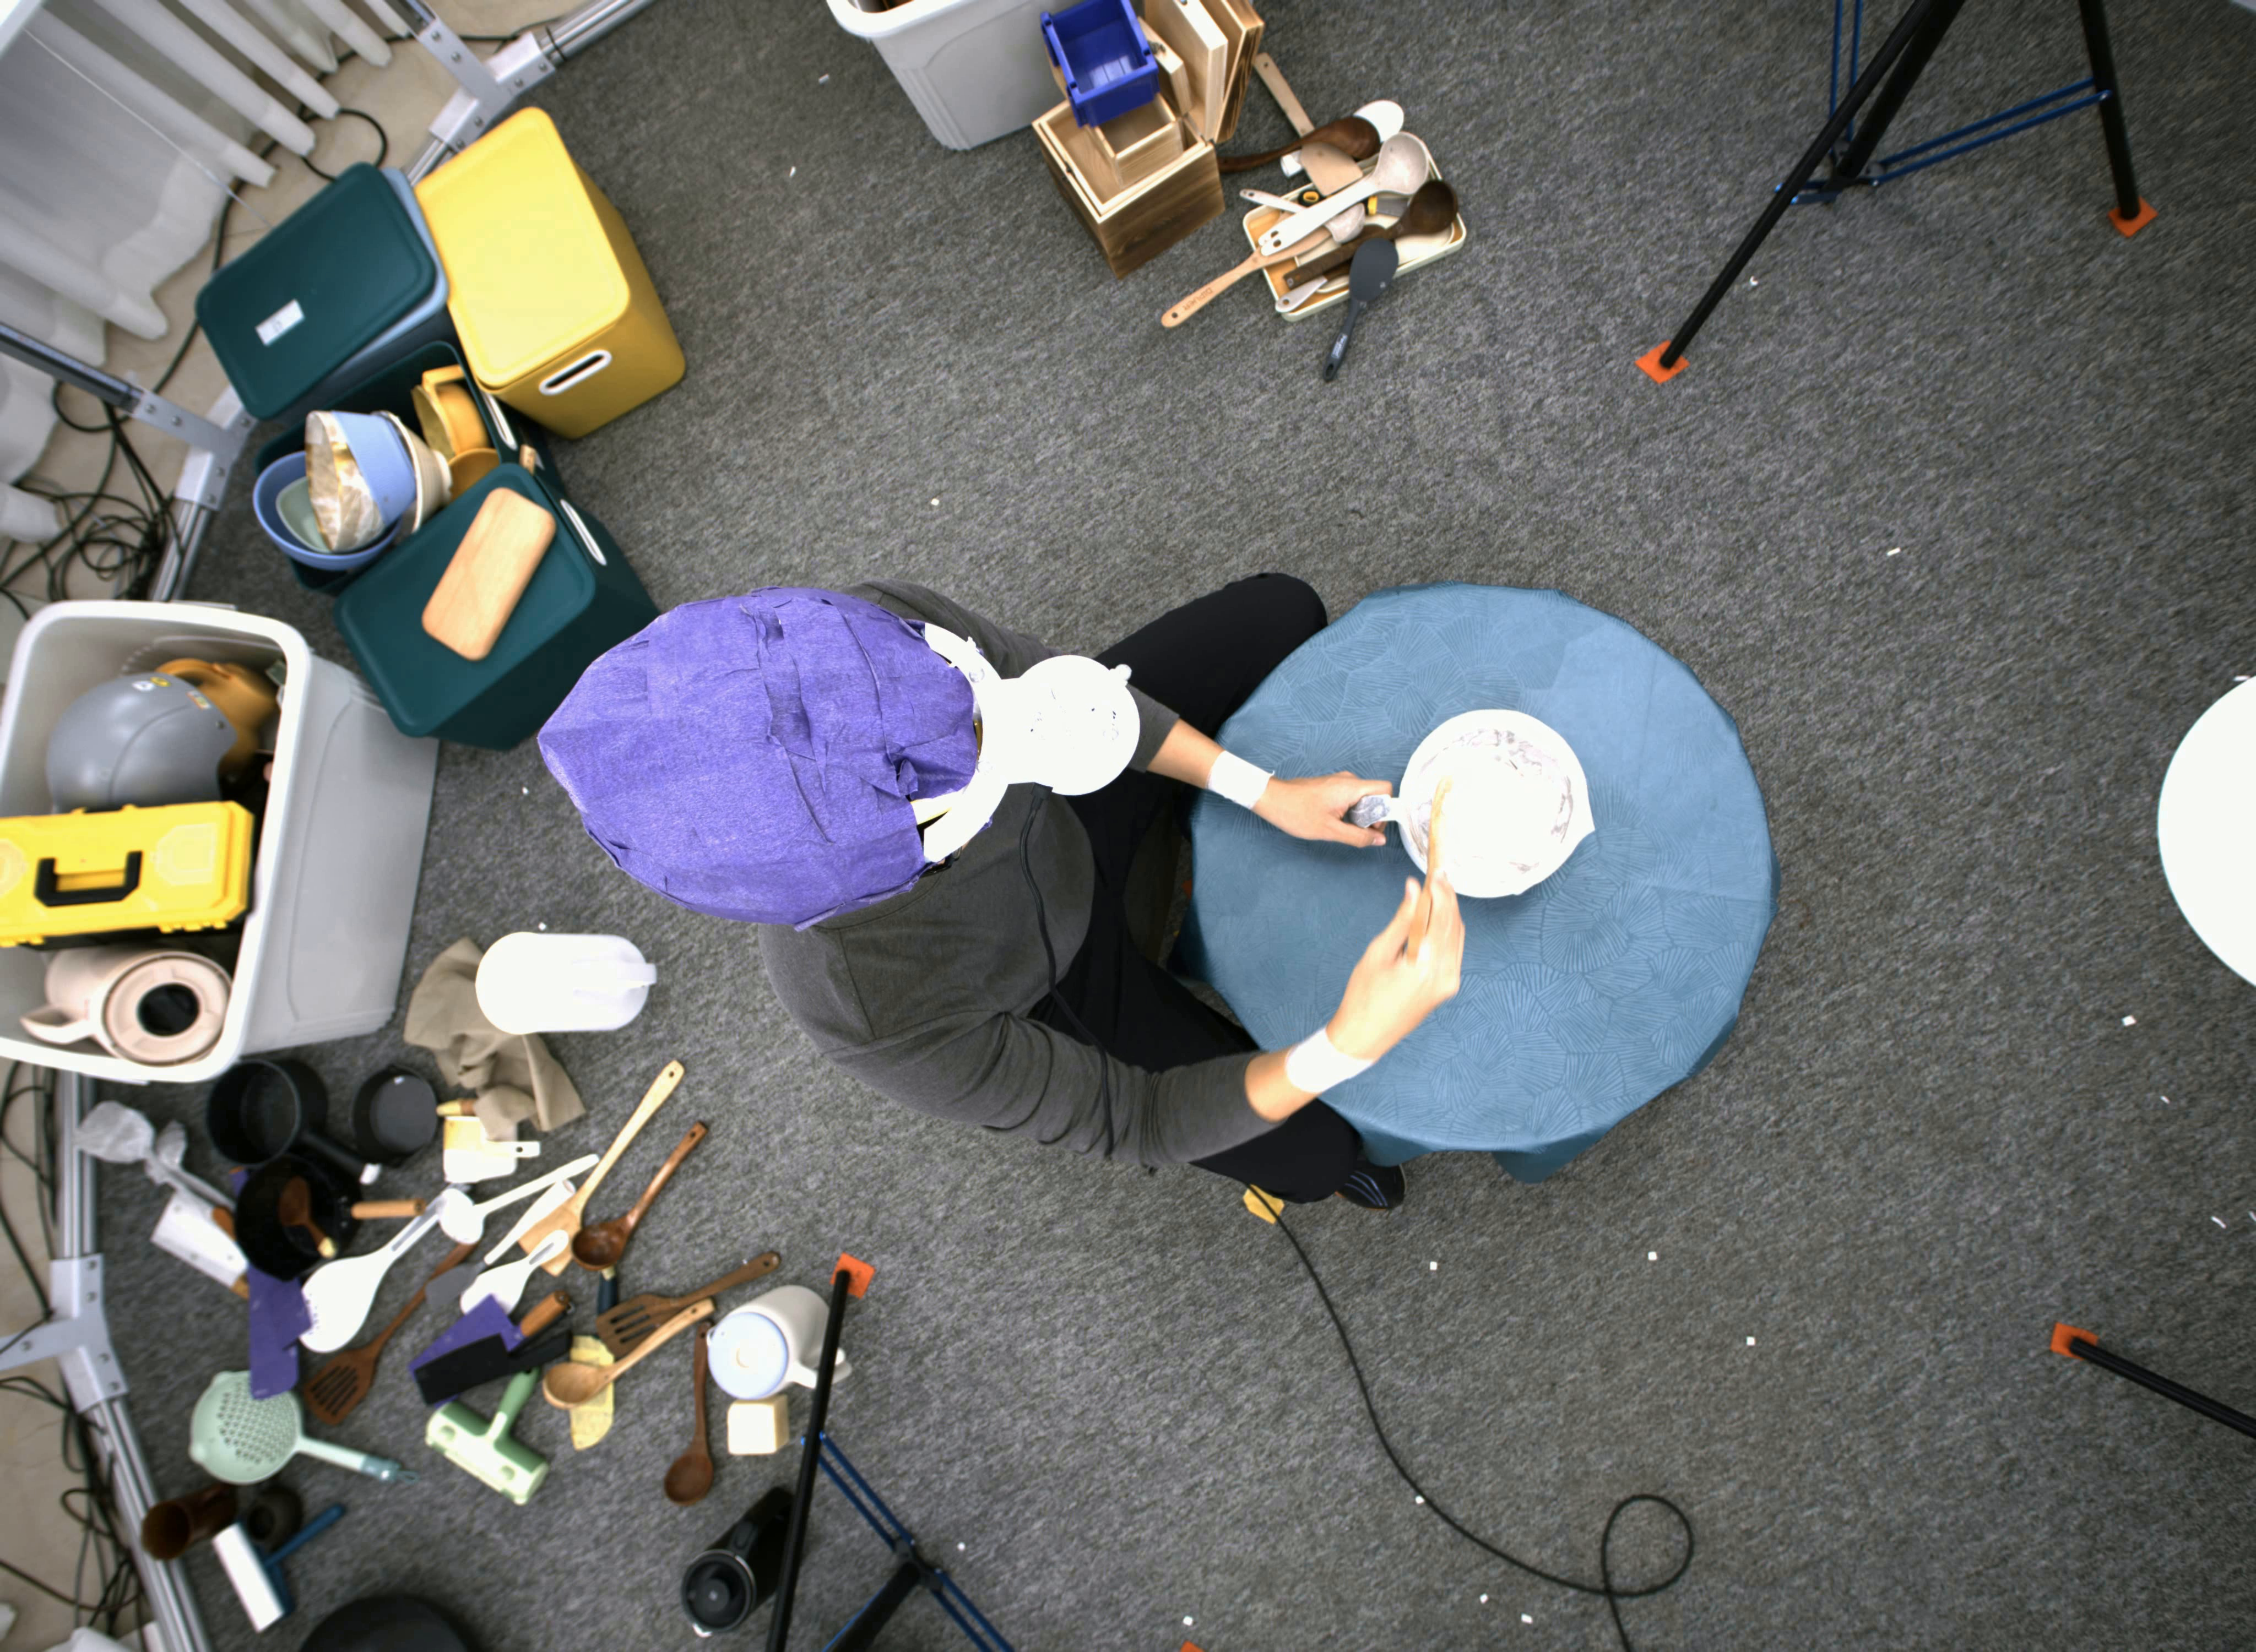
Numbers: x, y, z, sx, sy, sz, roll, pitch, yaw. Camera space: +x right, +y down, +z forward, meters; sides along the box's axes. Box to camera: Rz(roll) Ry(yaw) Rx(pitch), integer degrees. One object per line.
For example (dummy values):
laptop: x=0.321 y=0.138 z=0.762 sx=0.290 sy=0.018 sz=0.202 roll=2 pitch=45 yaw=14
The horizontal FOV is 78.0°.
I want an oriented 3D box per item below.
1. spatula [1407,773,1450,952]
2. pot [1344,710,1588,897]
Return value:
spatula: x=0.256 y=0.036 z=1.163 sx=0.018 sy=0.384 sz=0.097 roll=4 pitch=106 yaw=14
pot: x=0.334 y=-0.018 z=1.385 sx=0.235 sy=0.136 sz=0.178 roll=-4 pitch=85 yaw=11
